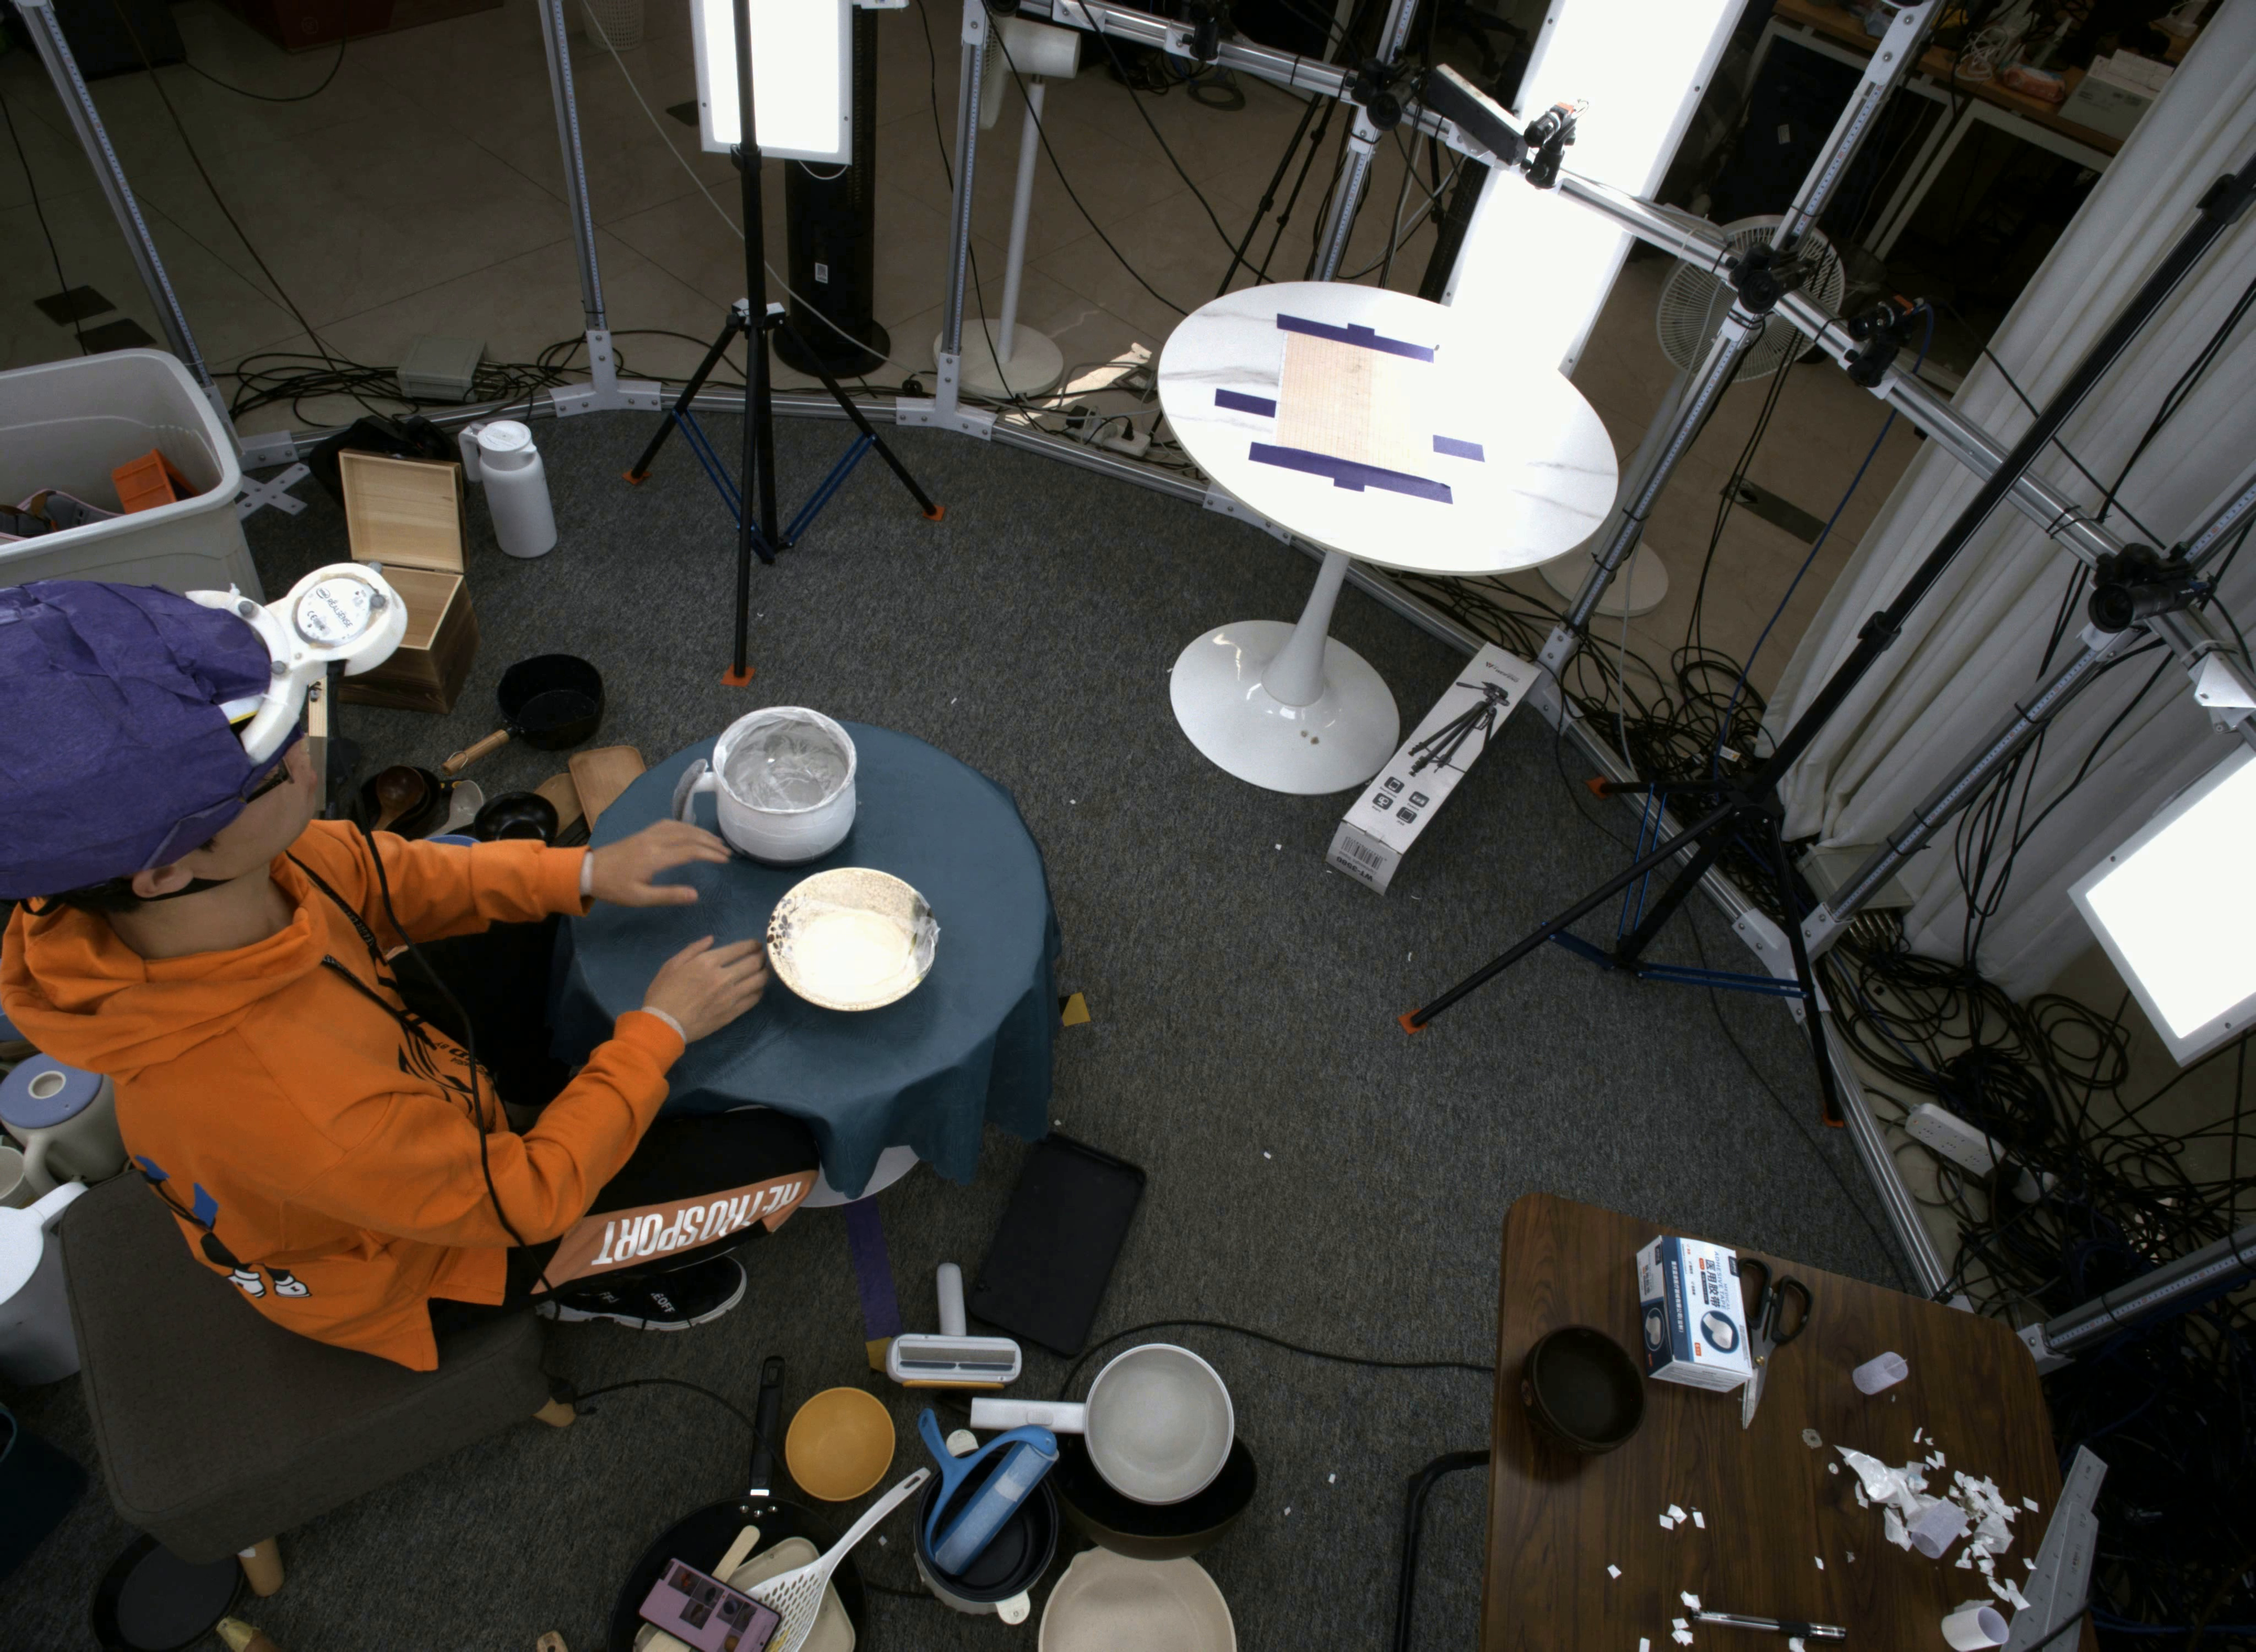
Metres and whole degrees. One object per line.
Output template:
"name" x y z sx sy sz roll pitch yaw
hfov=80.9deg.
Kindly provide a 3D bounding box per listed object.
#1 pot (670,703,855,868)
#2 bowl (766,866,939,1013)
"pot" -0.466 -0.045 1.647 0.235 0.139 0.174 -6 54 -19
"bowl" -0.332 0.152 1.577 0.203 0.079 0.200 7 54 -7
